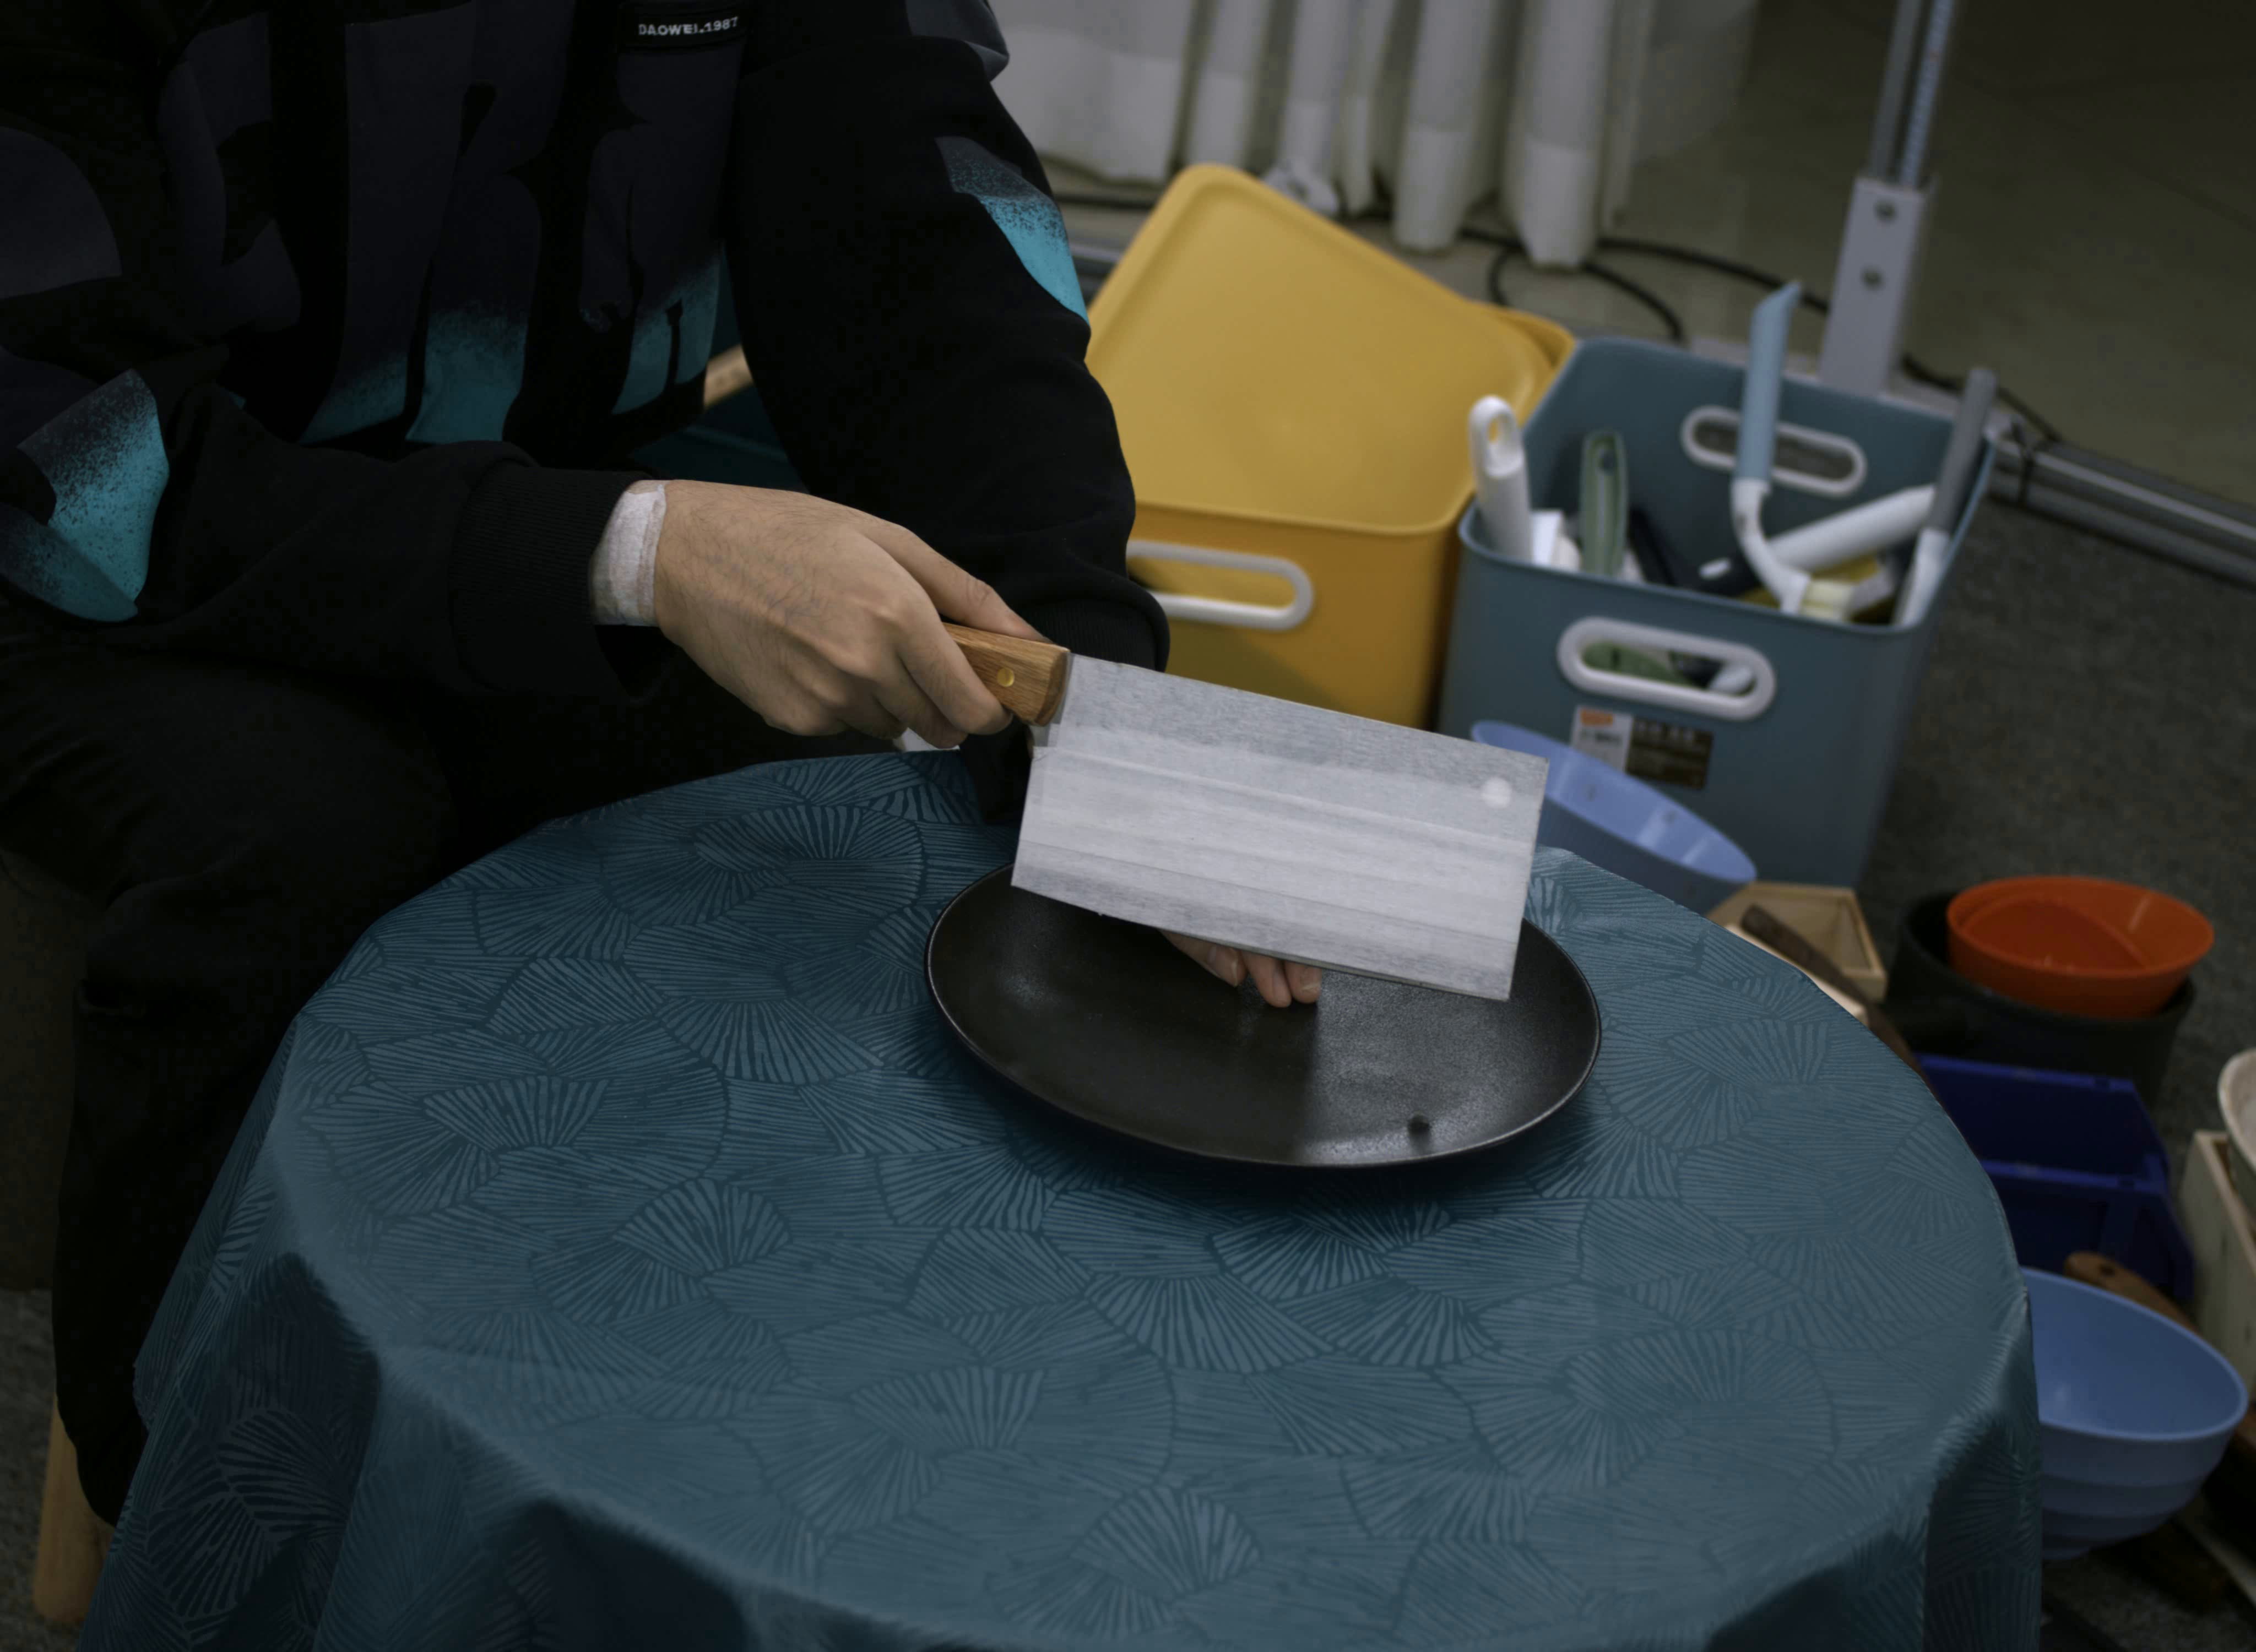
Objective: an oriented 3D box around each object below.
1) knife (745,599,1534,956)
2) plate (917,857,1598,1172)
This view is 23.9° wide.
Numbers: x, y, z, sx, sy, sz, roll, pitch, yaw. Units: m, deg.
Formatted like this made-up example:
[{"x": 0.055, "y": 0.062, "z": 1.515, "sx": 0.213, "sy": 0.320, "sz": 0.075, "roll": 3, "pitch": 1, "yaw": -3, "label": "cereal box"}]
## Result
[{"x": -0.002, "y": -0.015, "z": 1.902, "sx": 0.306, "sy": 0.093, "sz": 0.021, "roll": 13, "pitch": 12, "yaw": 19, "label": "knife"}, {"x": 0.046, "y": 0.067, "z": 1.897, "sx": 0.243, "sy": 0.023, "sz": 0.246, "roll": 5, "pitch": 27, "yaw": -3, "label": "plate"}]
